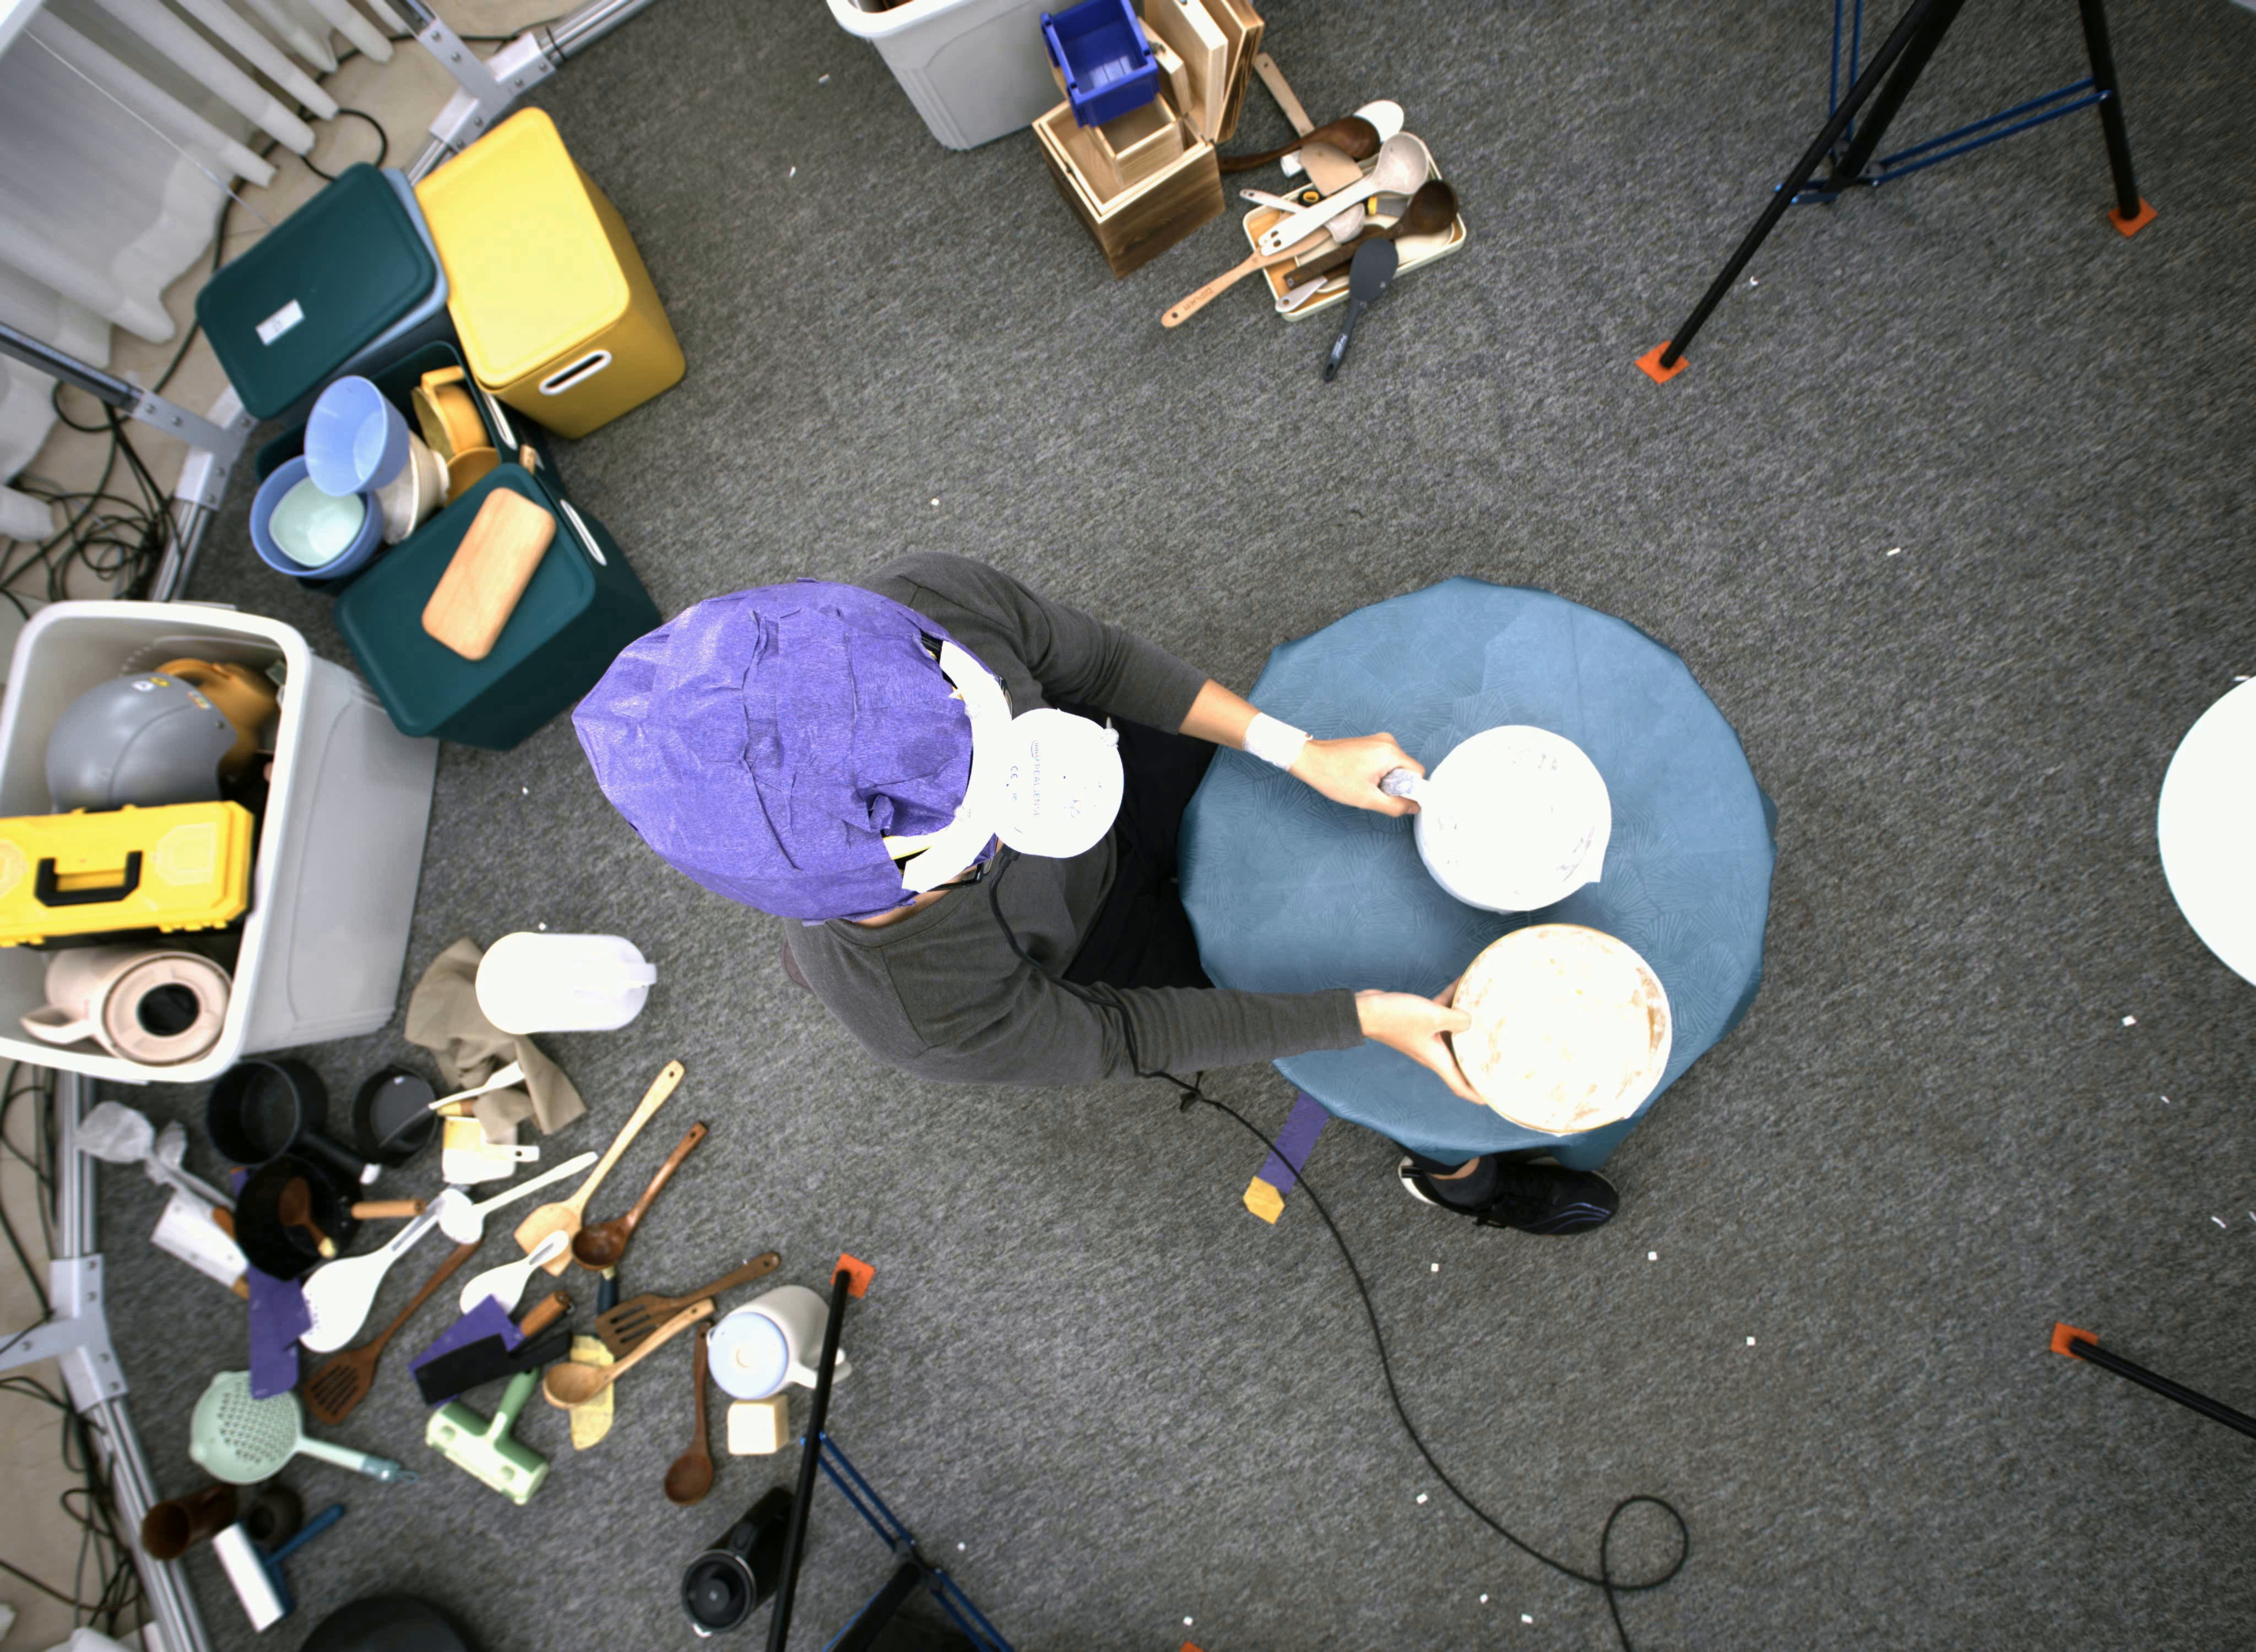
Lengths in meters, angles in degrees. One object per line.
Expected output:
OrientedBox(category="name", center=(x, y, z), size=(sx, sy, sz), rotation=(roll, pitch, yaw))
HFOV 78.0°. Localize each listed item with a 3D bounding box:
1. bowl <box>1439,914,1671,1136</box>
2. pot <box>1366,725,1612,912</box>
OrientedBox(category="bowl", center=(0.416, 0.198, 1.339), size=(0.216, 0.095, 0.211), rotation=(-7, 72, 20))
OrientedBox(category="pot", center=(0.353, -0.014, 1.375), size=(0.234, 0.137, 0.178), rotation=(18, 89, 8))
